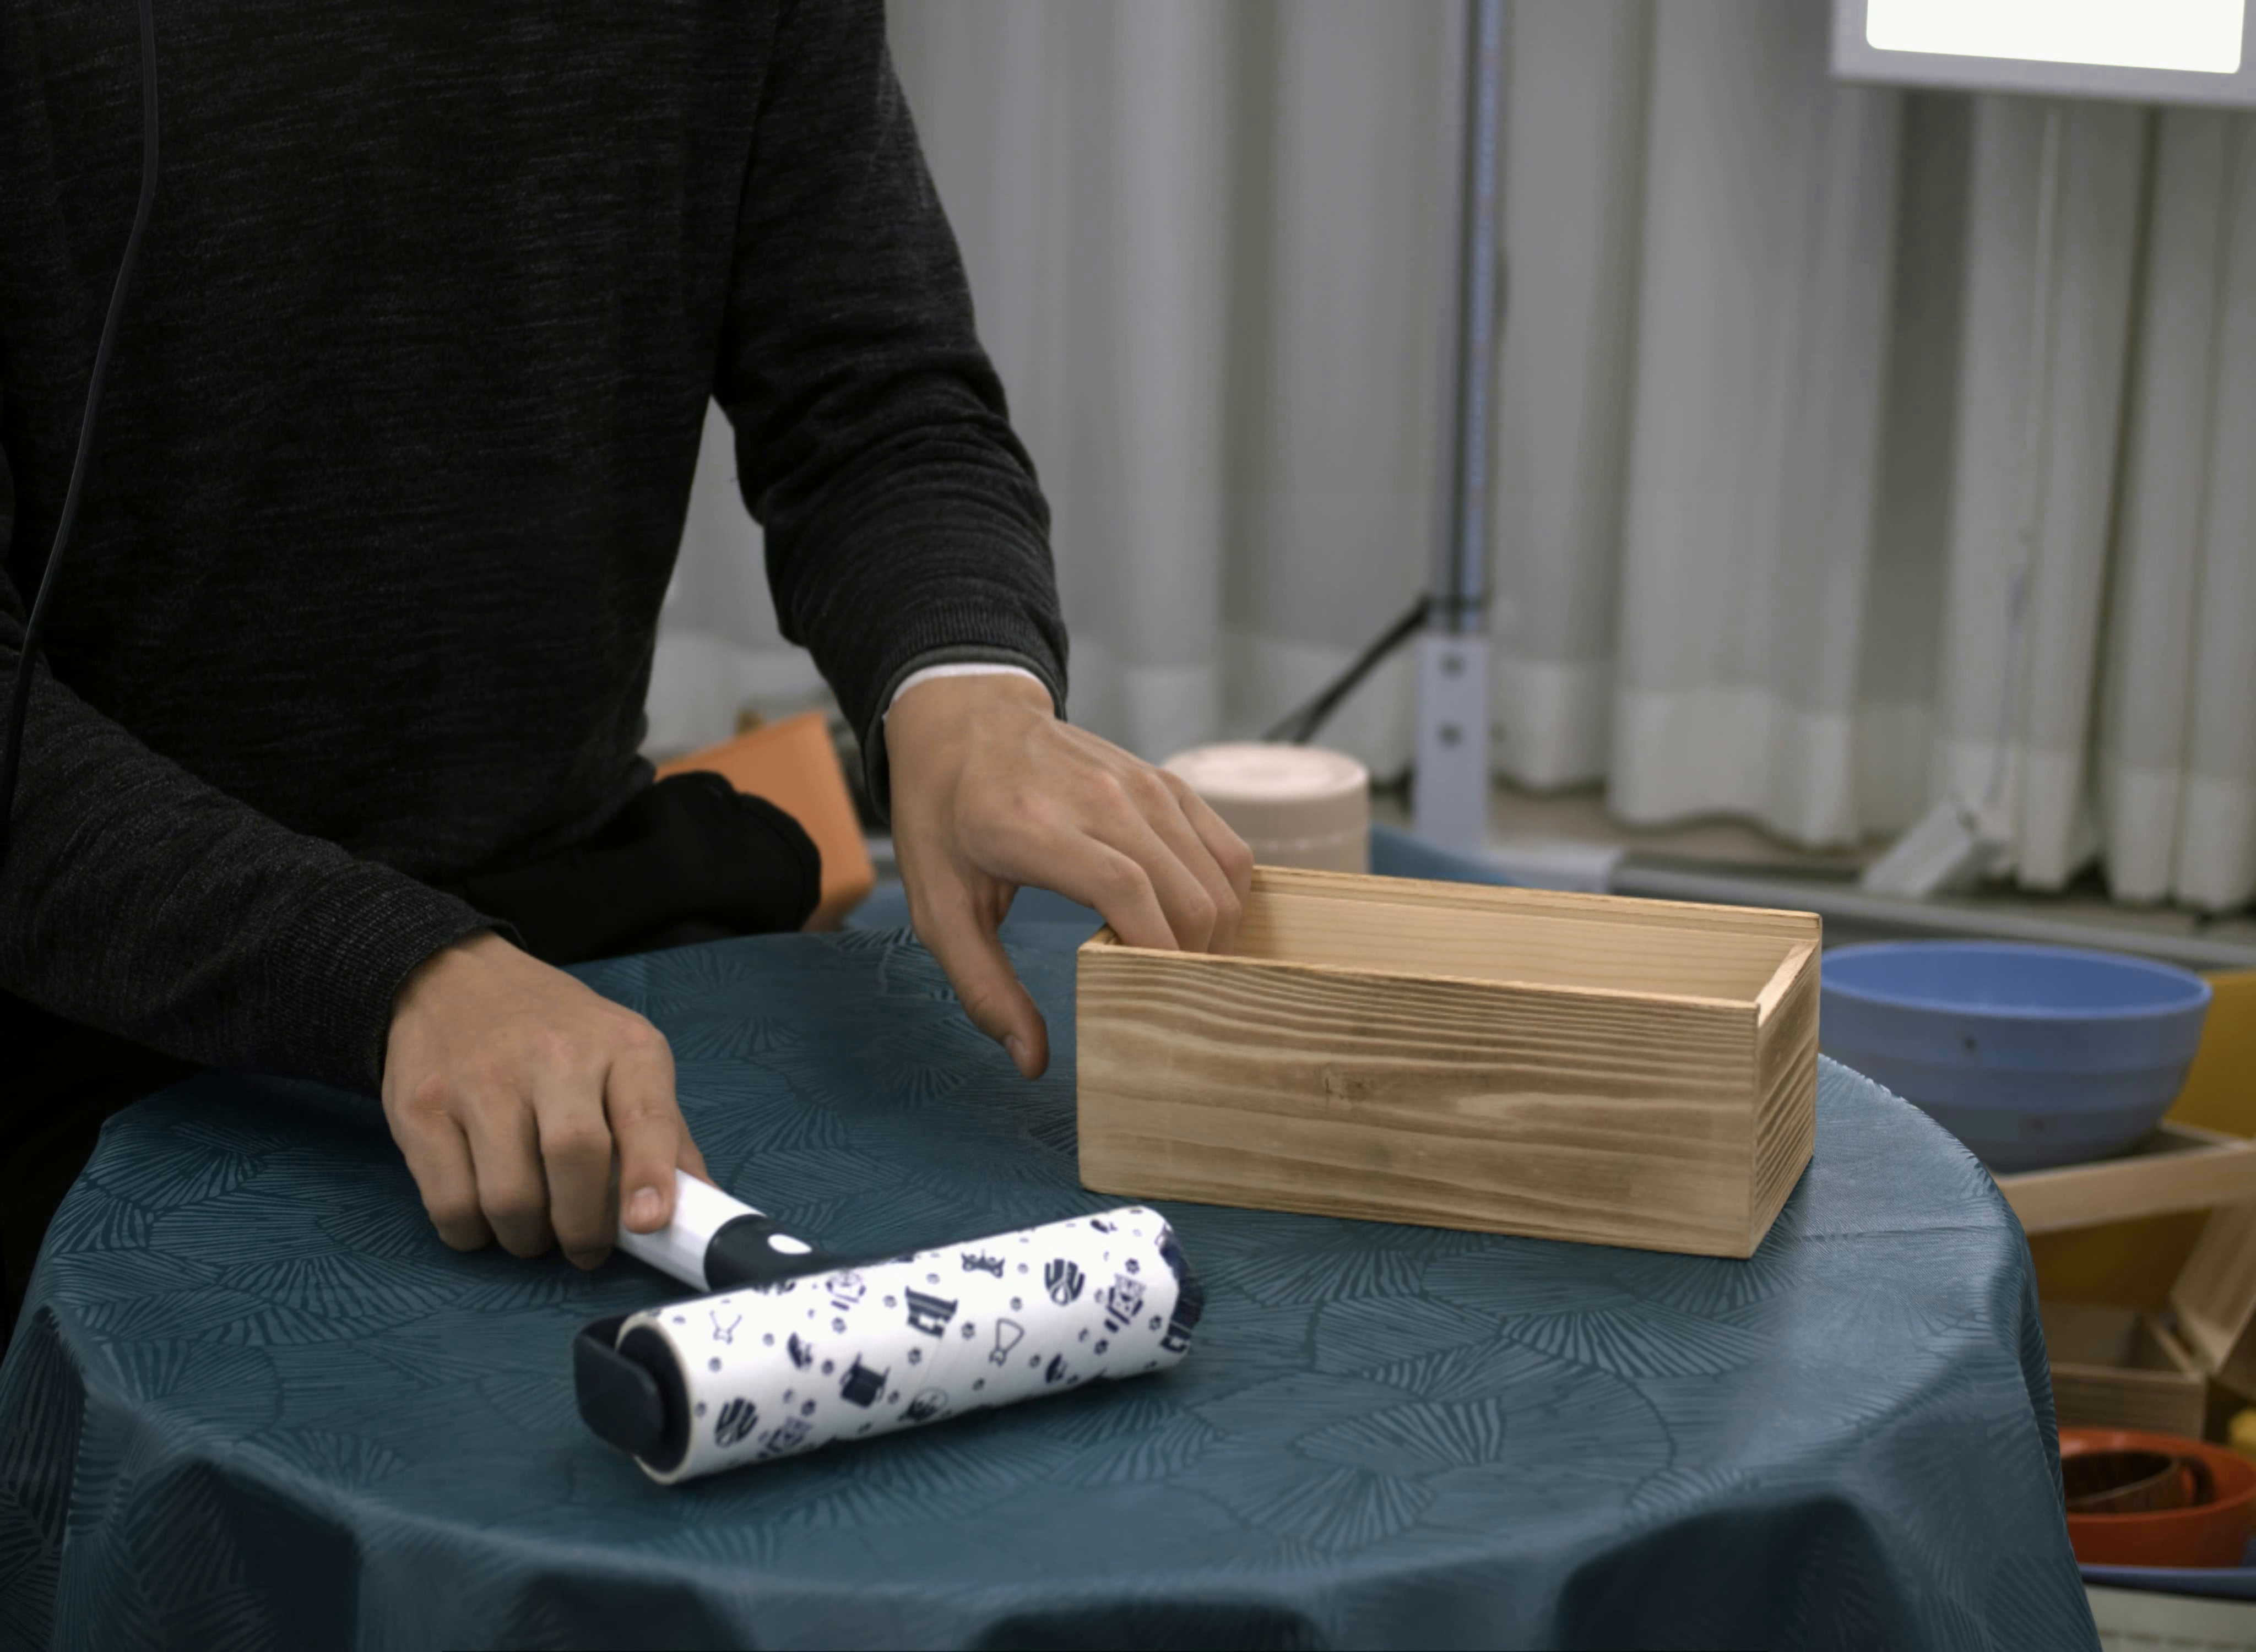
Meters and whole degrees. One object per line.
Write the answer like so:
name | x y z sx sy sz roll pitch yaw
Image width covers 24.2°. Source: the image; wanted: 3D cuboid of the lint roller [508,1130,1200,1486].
lint roller | -0.117 0.119 1.509 0.177 0.051 0.244 -11 18 -33

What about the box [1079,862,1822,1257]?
box | 0.100 0.070 1.628 0.209 0.081 0.107 4 16 15
